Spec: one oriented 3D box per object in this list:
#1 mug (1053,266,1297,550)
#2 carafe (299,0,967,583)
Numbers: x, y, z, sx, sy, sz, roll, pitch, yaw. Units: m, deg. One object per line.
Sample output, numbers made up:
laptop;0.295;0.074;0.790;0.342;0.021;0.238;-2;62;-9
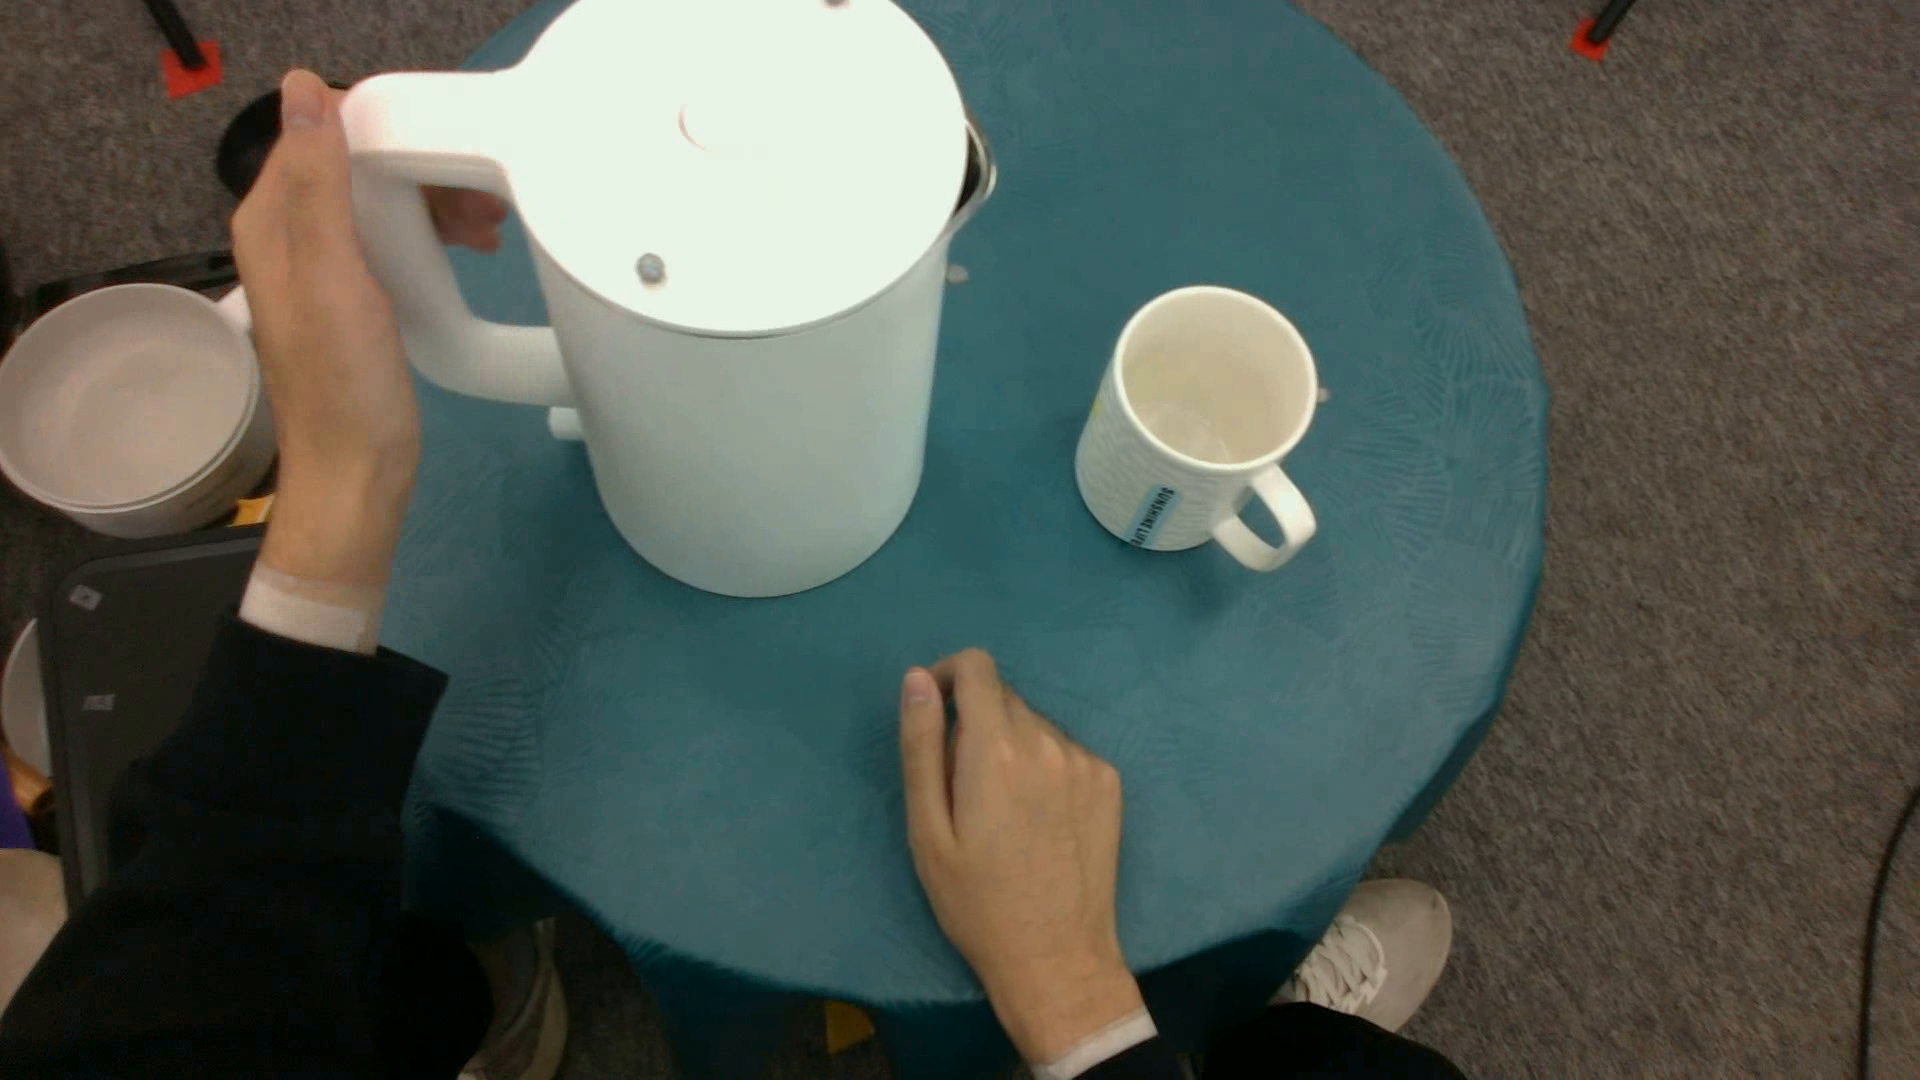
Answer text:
mug;0.100;-0.046;0.610;0.085;0.101;0.118;-33;76;-18
carafe;-0.116;-0.095;0.534;0.213;0.239;0.152;3;68;-7
